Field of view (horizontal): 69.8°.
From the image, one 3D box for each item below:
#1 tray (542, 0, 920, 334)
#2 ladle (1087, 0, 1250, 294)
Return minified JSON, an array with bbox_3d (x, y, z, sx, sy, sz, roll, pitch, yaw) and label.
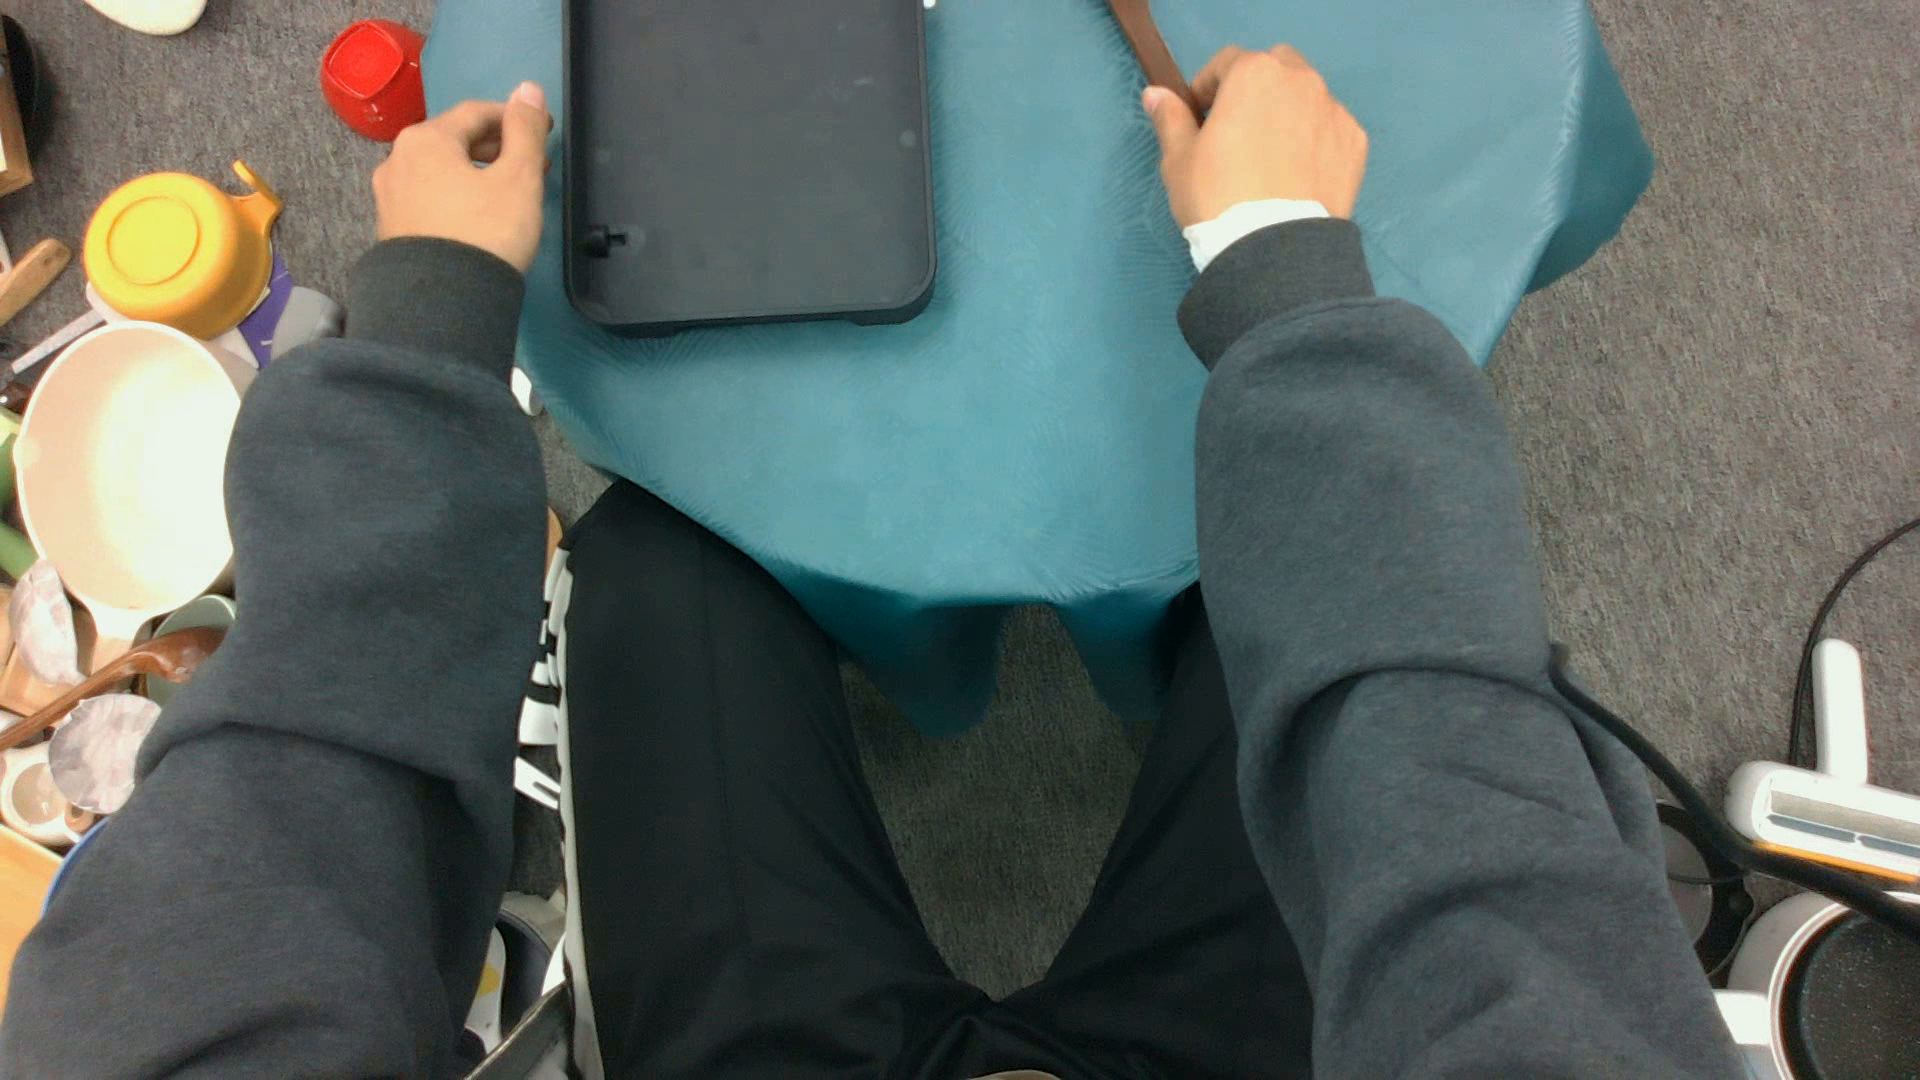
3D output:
[{"bbox_3d":[-0.119,-0.264,0.703,0.184,0.037,0.318,-4,80,1],"label":"tray"},{"bbox_3d":[0.091,-0.248,0.684,0.076,0.065,0.260,-21,82,-4],"label":"ladle"}]
